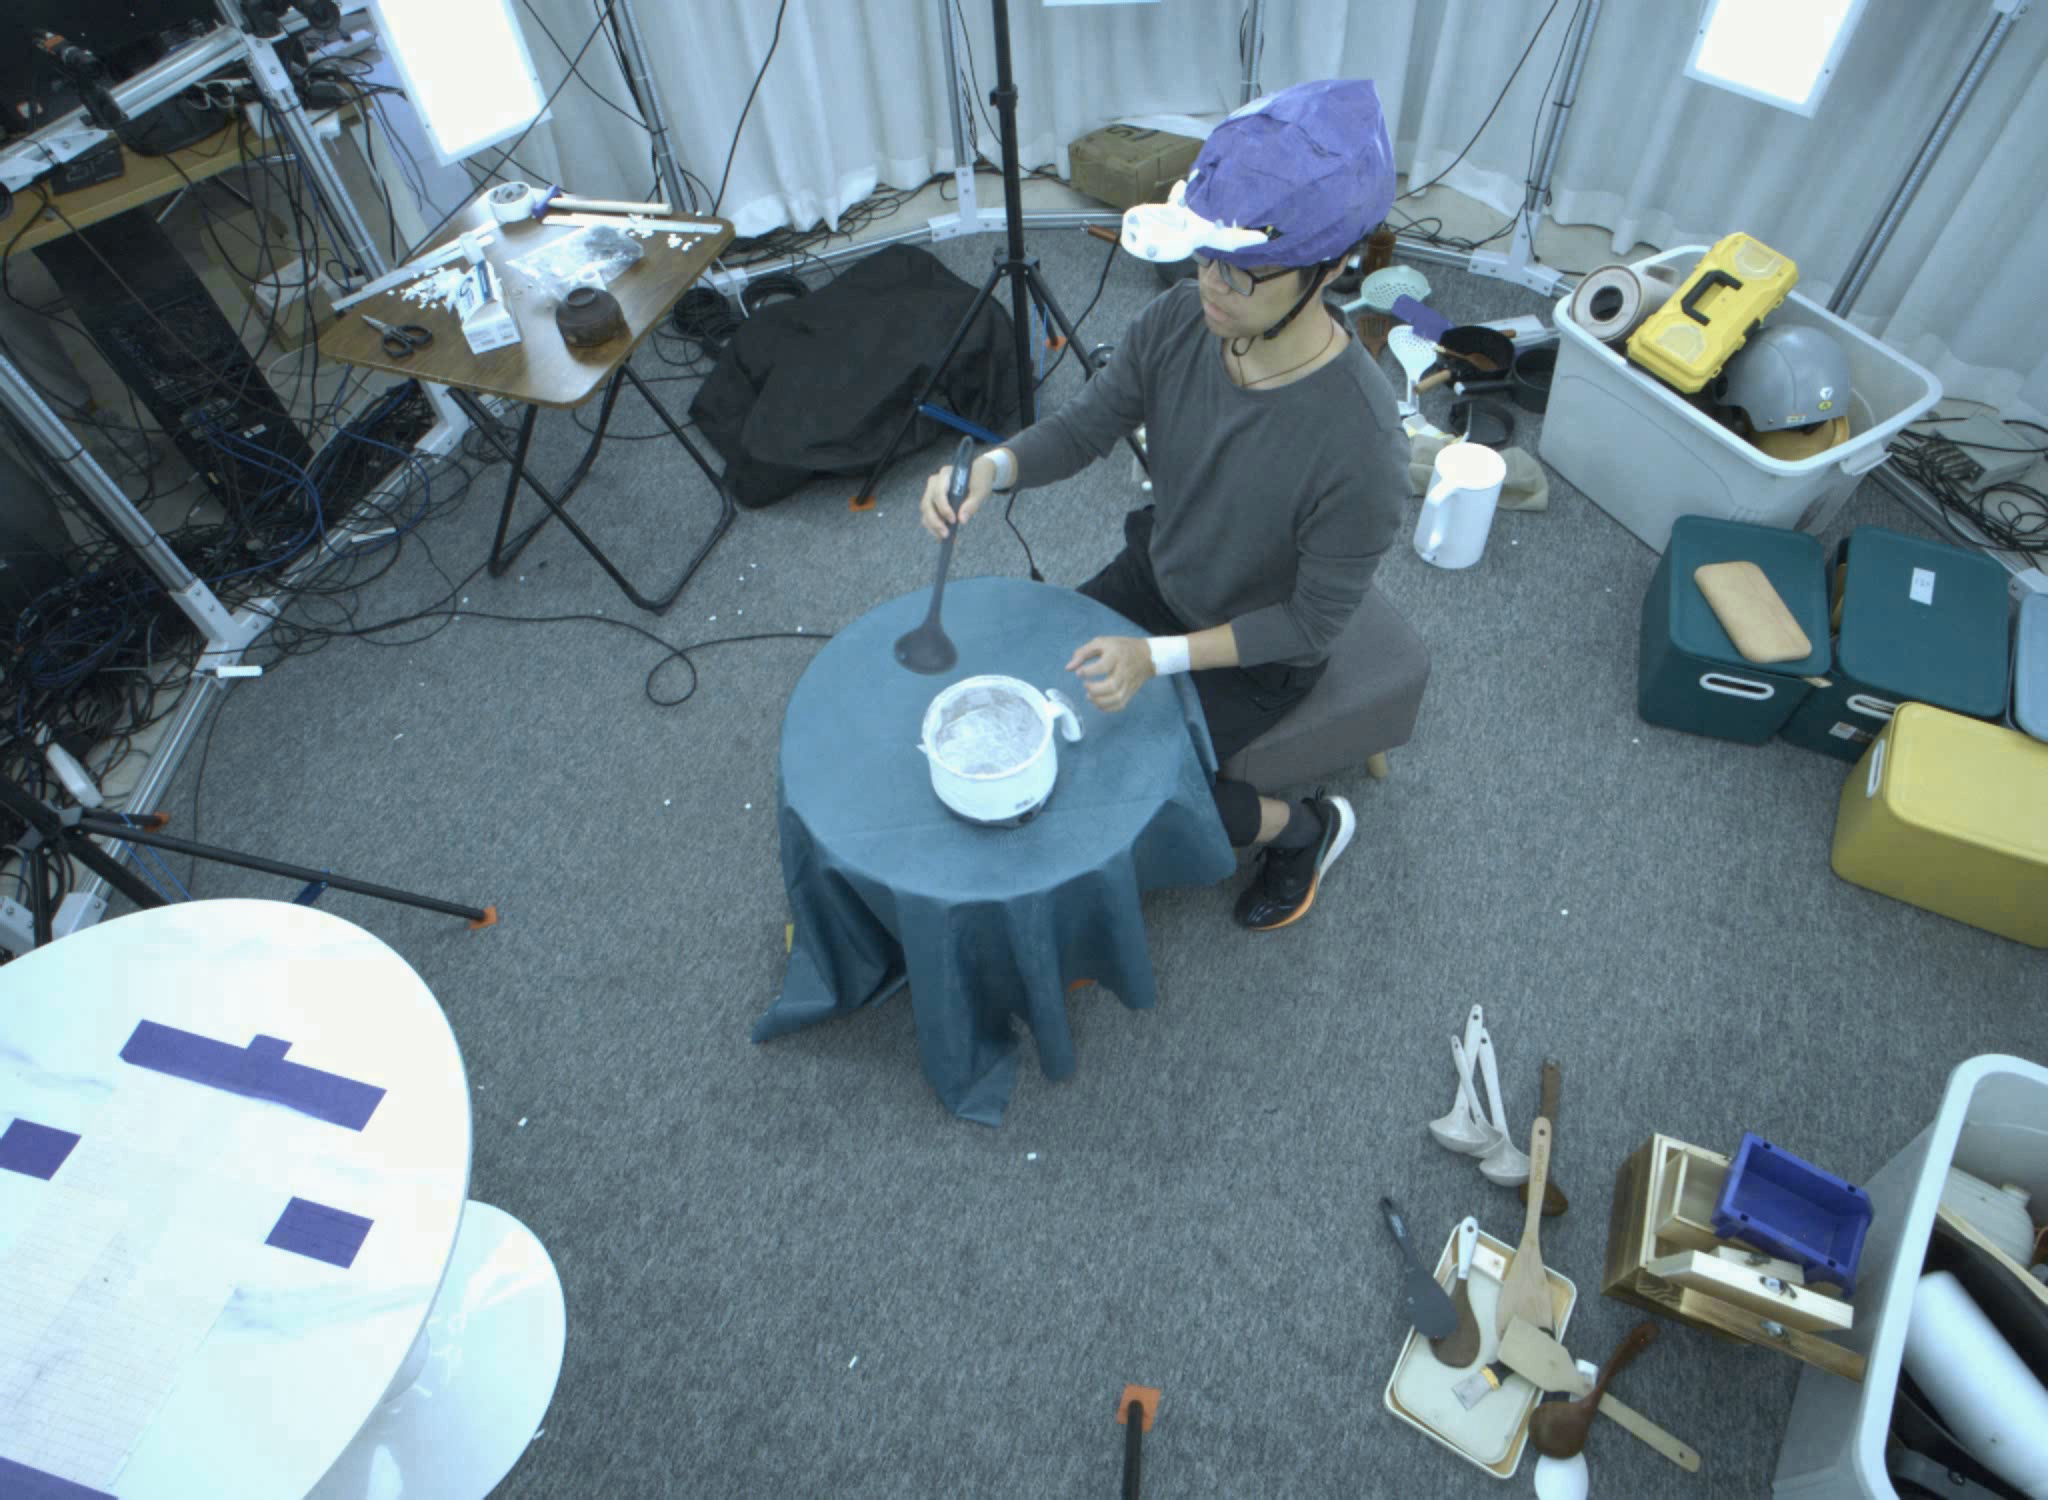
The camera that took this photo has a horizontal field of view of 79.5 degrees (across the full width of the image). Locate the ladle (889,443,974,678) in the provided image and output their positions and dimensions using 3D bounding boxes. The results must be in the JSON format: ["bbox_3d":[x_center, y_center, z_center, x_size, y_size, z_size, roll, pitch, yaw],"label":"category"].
[{"bbox_3d":[-0.108,-0.249,1.600,0.087,0.314,0.063,12,12,-8],"label":"ladle"}]

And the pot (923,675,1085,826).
[{"bbox_3d":[-0.021,-0.008,1.717,0.235,0.138,0.175,-28,58,-17],"label":"pot"}]
